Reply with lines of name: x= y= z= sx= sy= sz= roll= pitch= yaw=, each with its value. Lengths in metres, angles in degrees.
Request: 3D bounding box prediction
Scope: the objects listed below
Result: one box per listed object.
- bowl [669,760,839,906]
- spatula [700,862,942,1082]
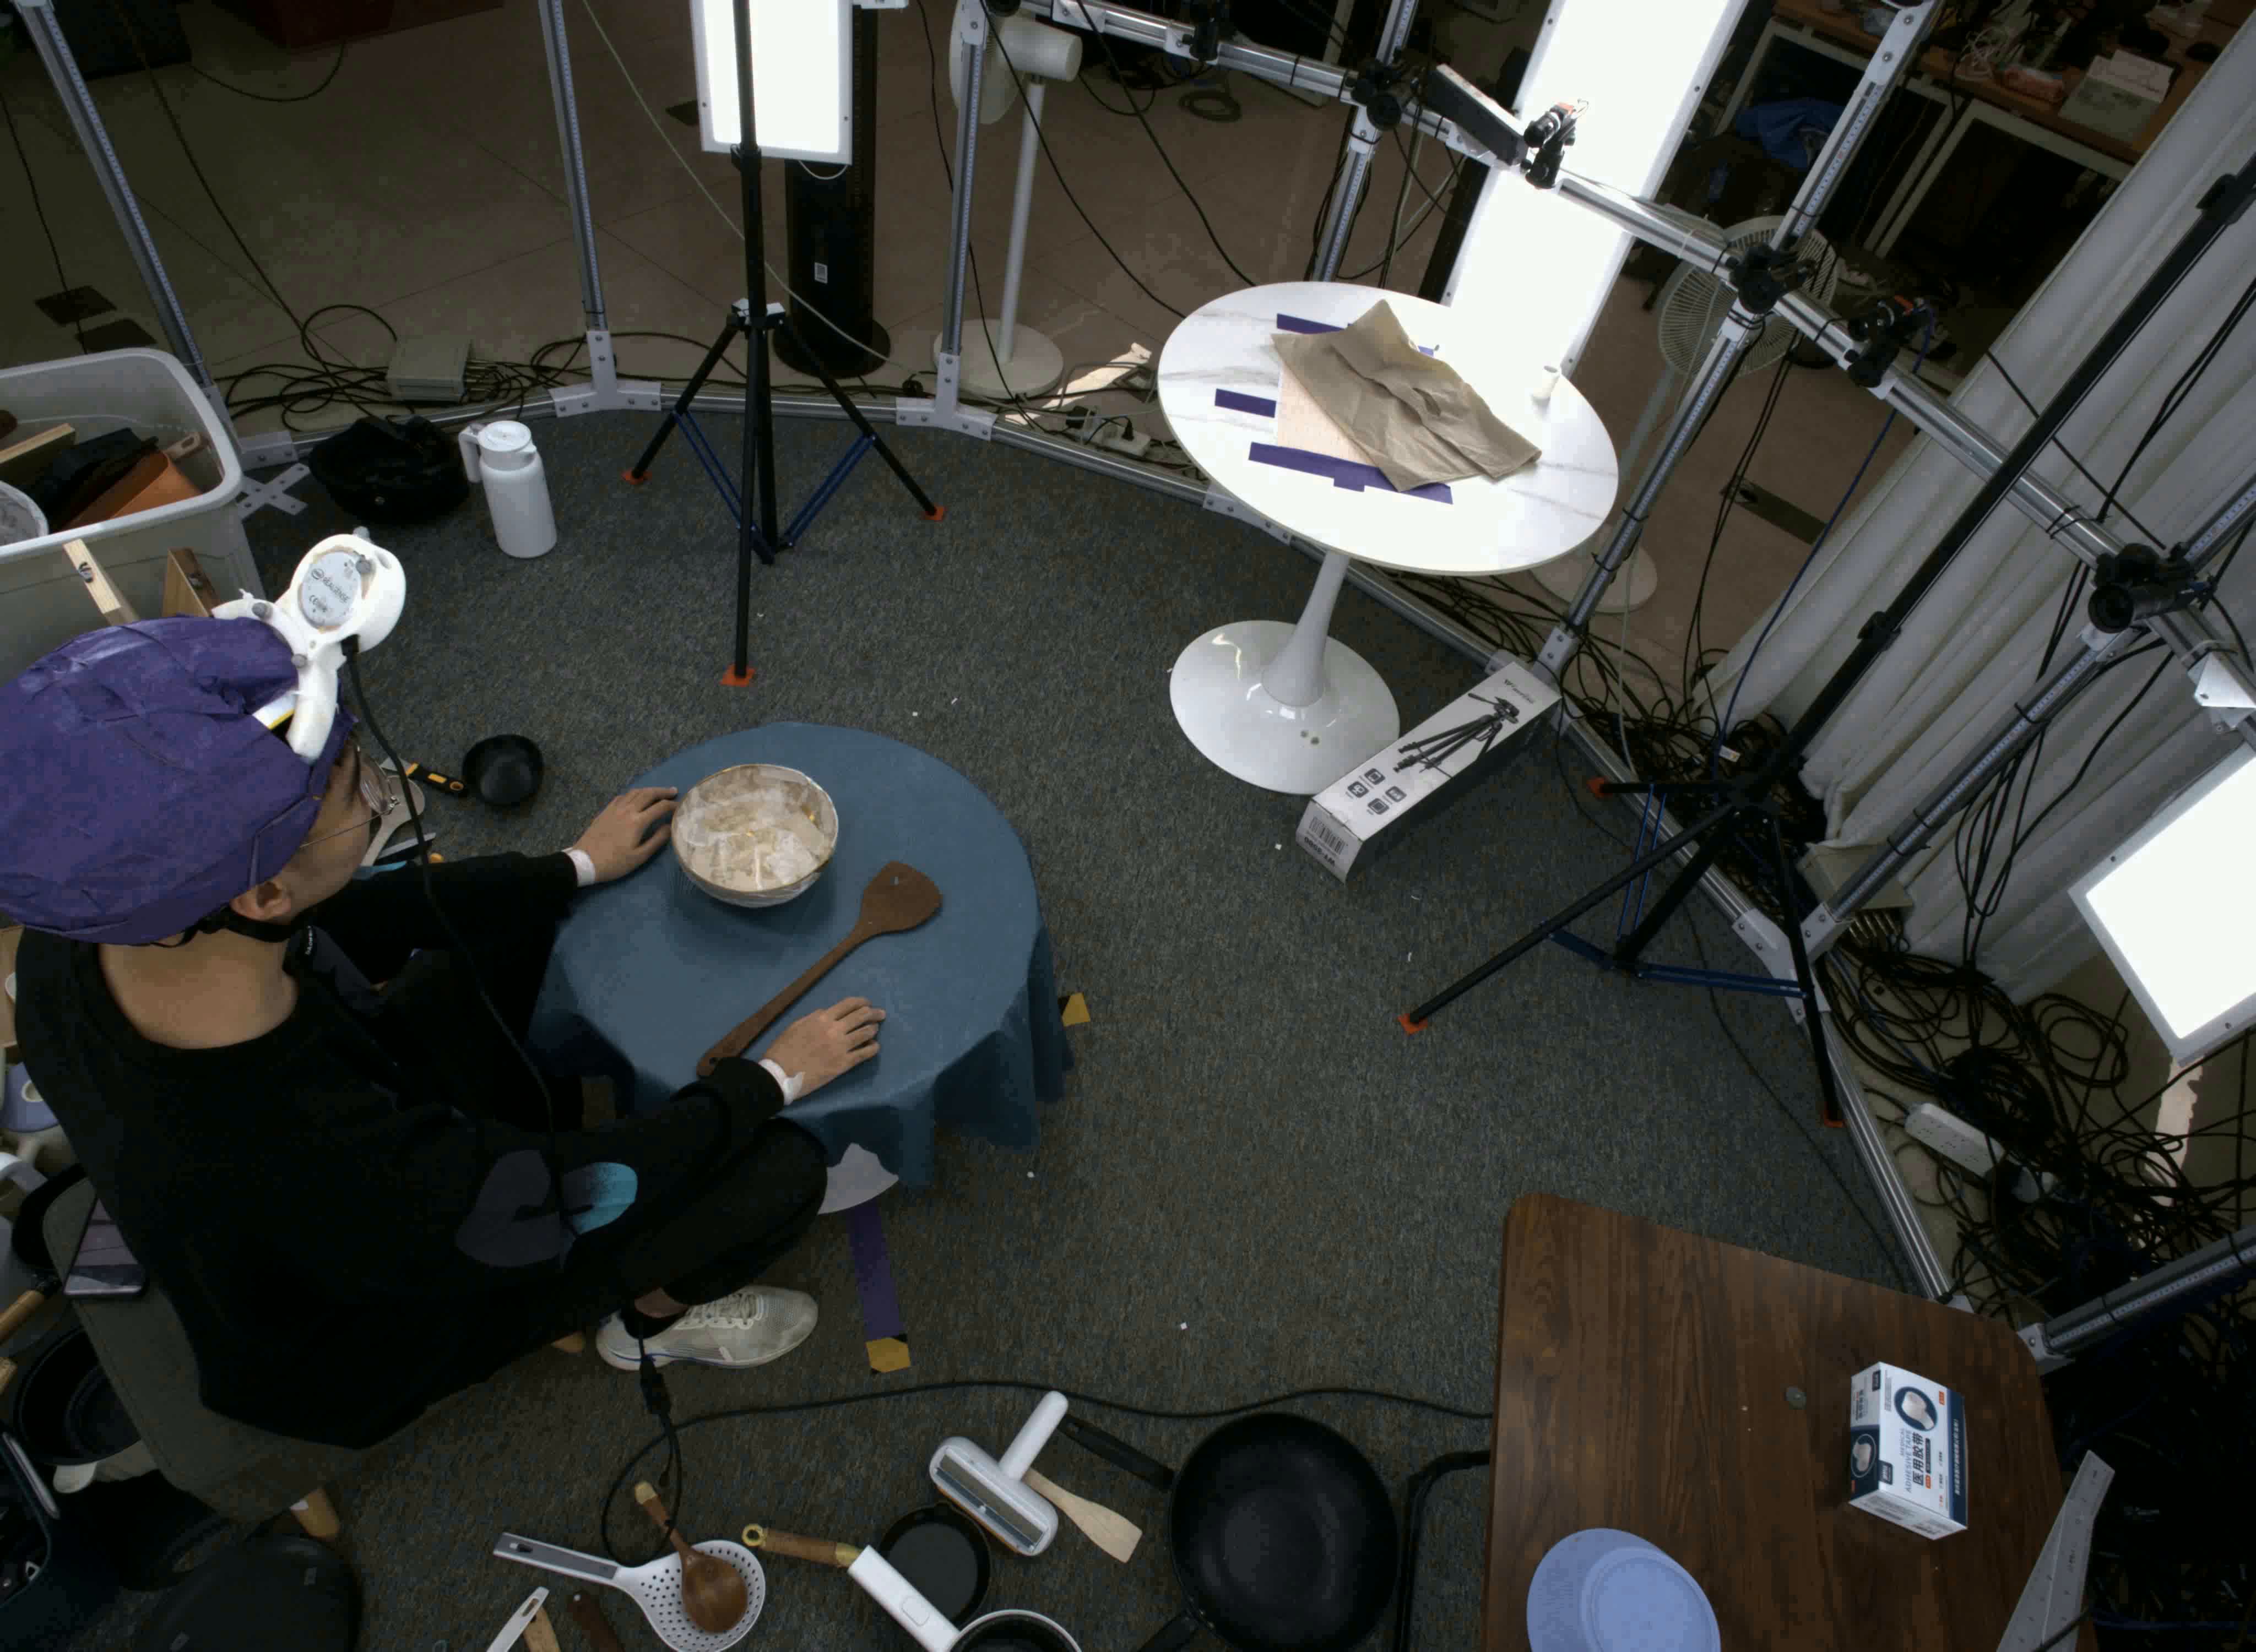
bowl: x=-0.473 y=0.023 z=1.639 sx=0.214 sy=0.096 sz=0.211 roll=8 pitch=54 yaw=-9
spatula: x=-0.380 y=0.176 z=1.600 sx=0.094 sy=0.016 sz=0.386 roll=36 pitch=54 yaw=13
